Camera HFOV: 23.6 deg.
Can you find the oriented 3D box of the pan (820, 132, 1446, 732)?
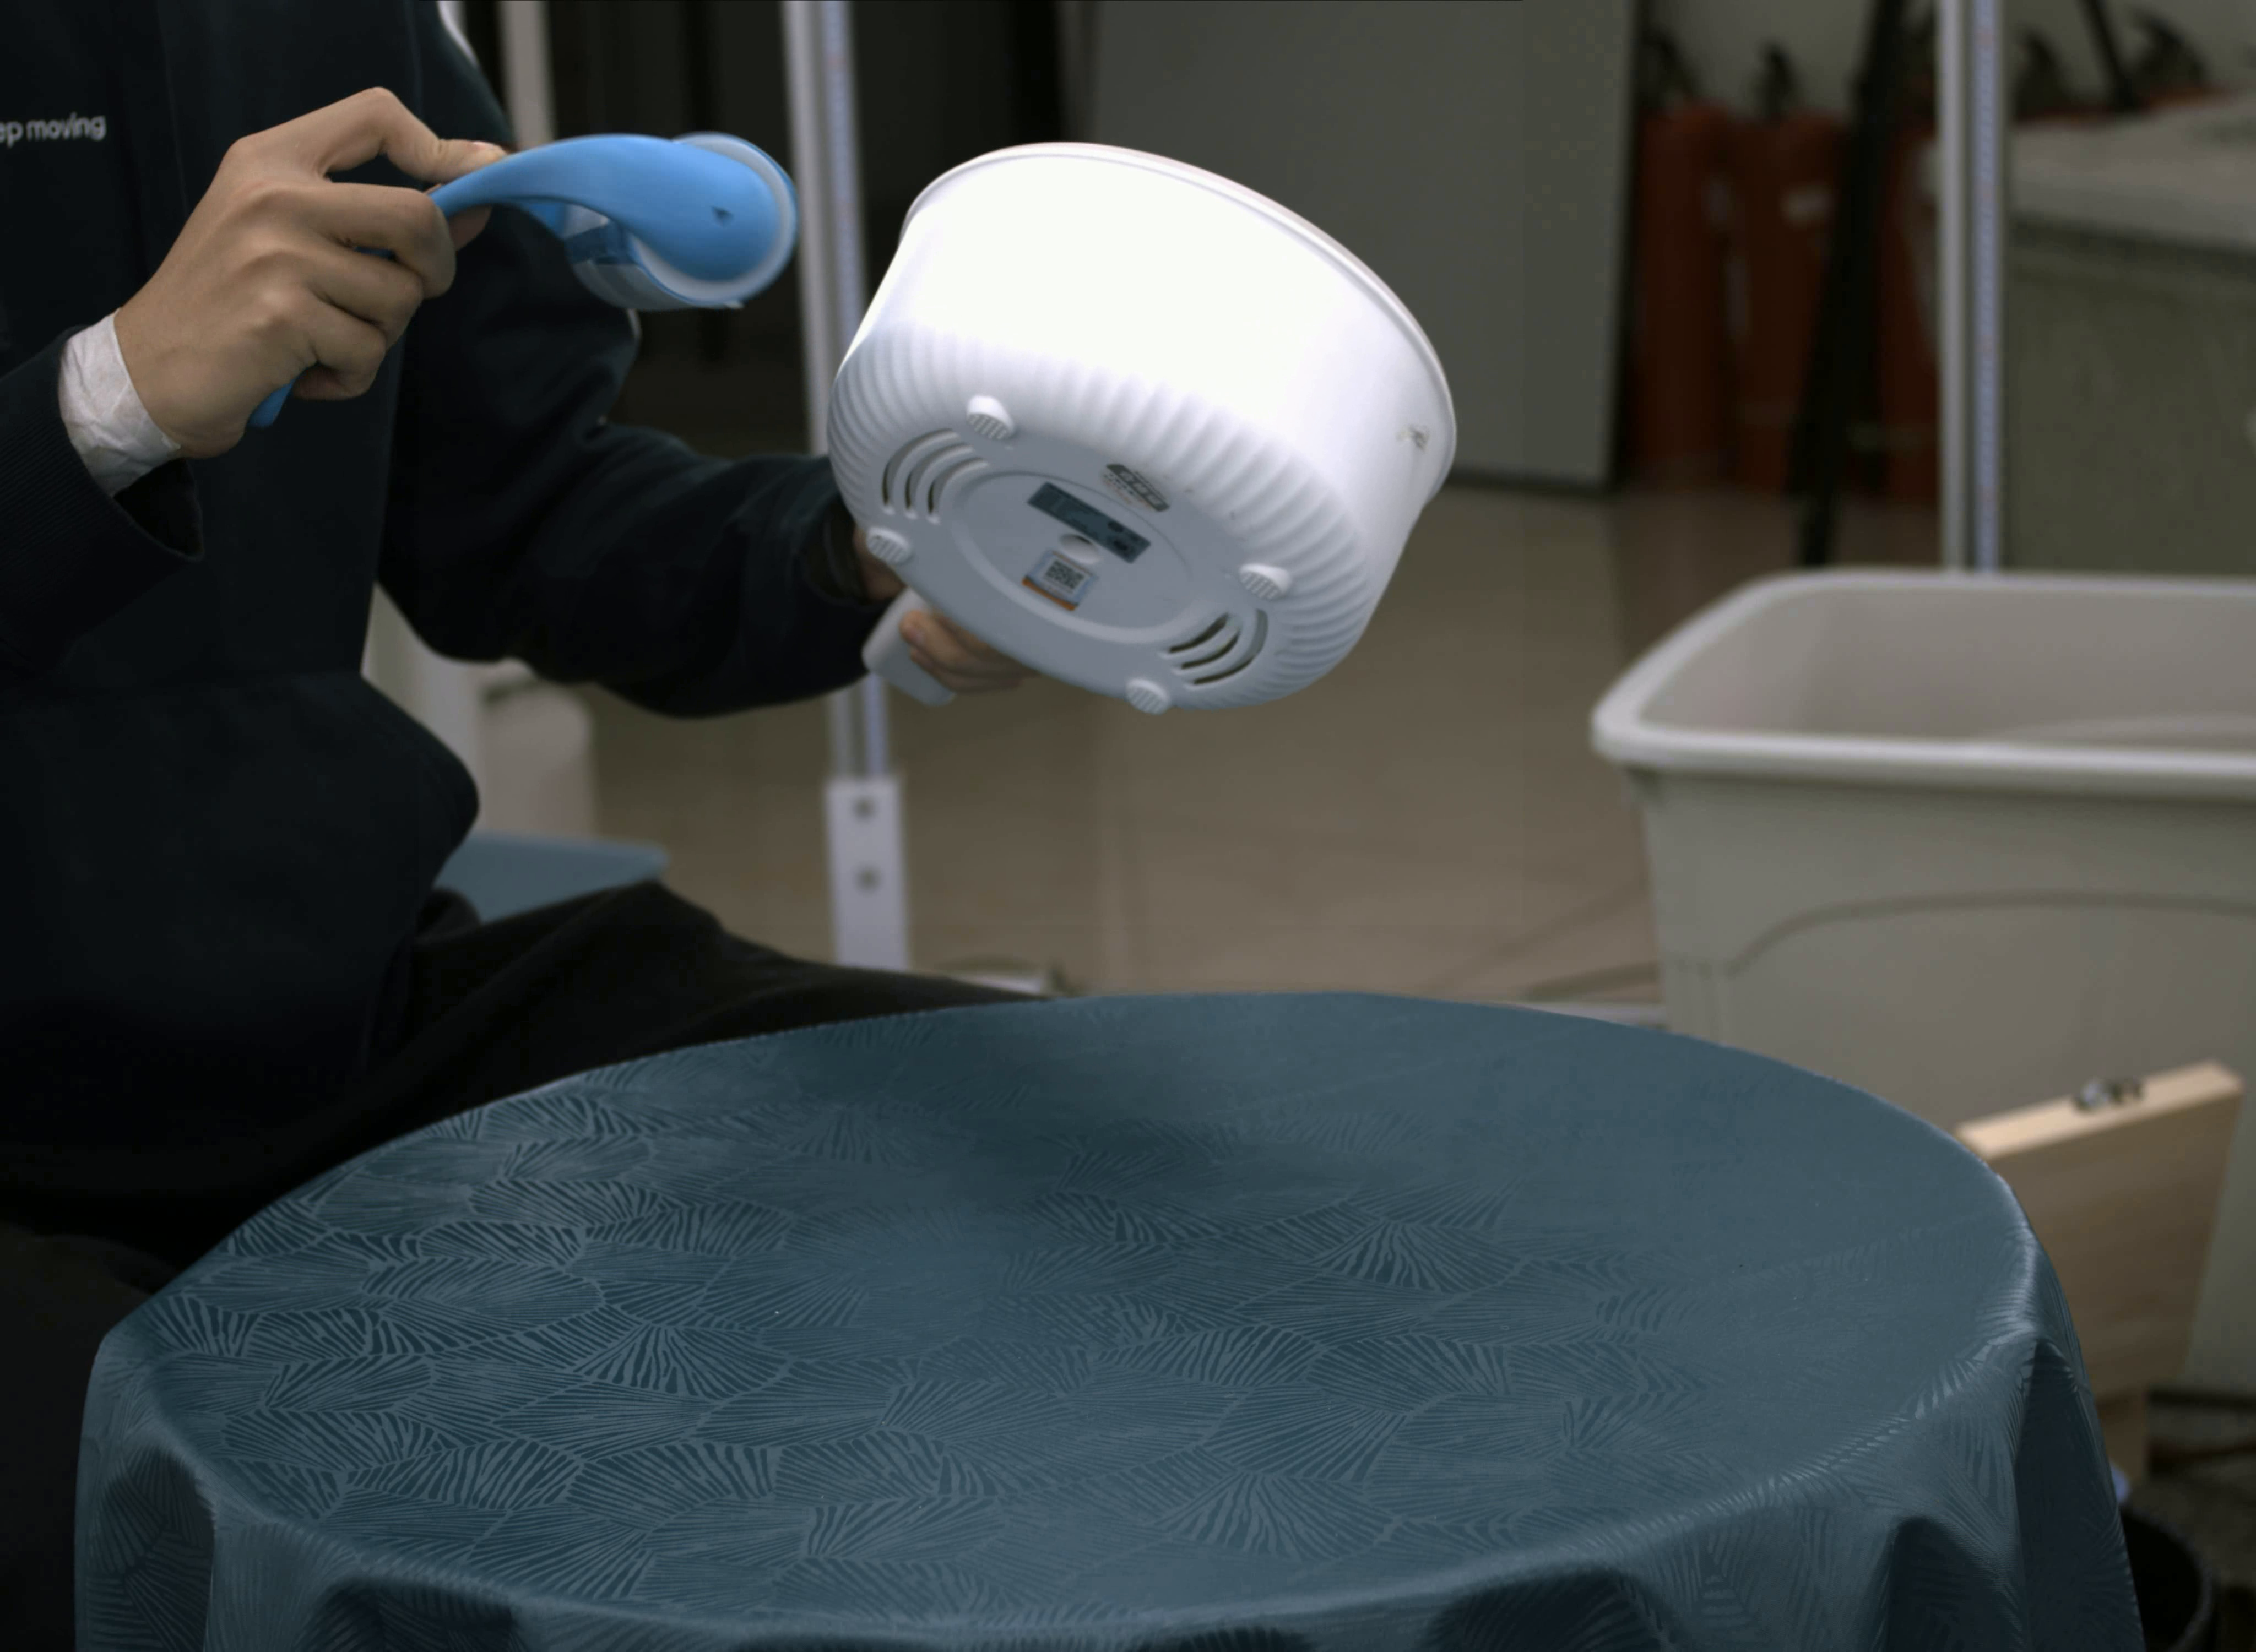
[{"bbox_3d":[-0.031,-0.094,1.847,0.199,0.102,0.358,29,-31,-9],"label":"pan"}]

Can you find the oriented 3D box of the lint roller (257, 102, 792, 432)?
[{"bbox_3d":[-0.200,-0.183,1.740,0.177,0.068,0.230,-17,7,-10],"label":"lint roller"}]
